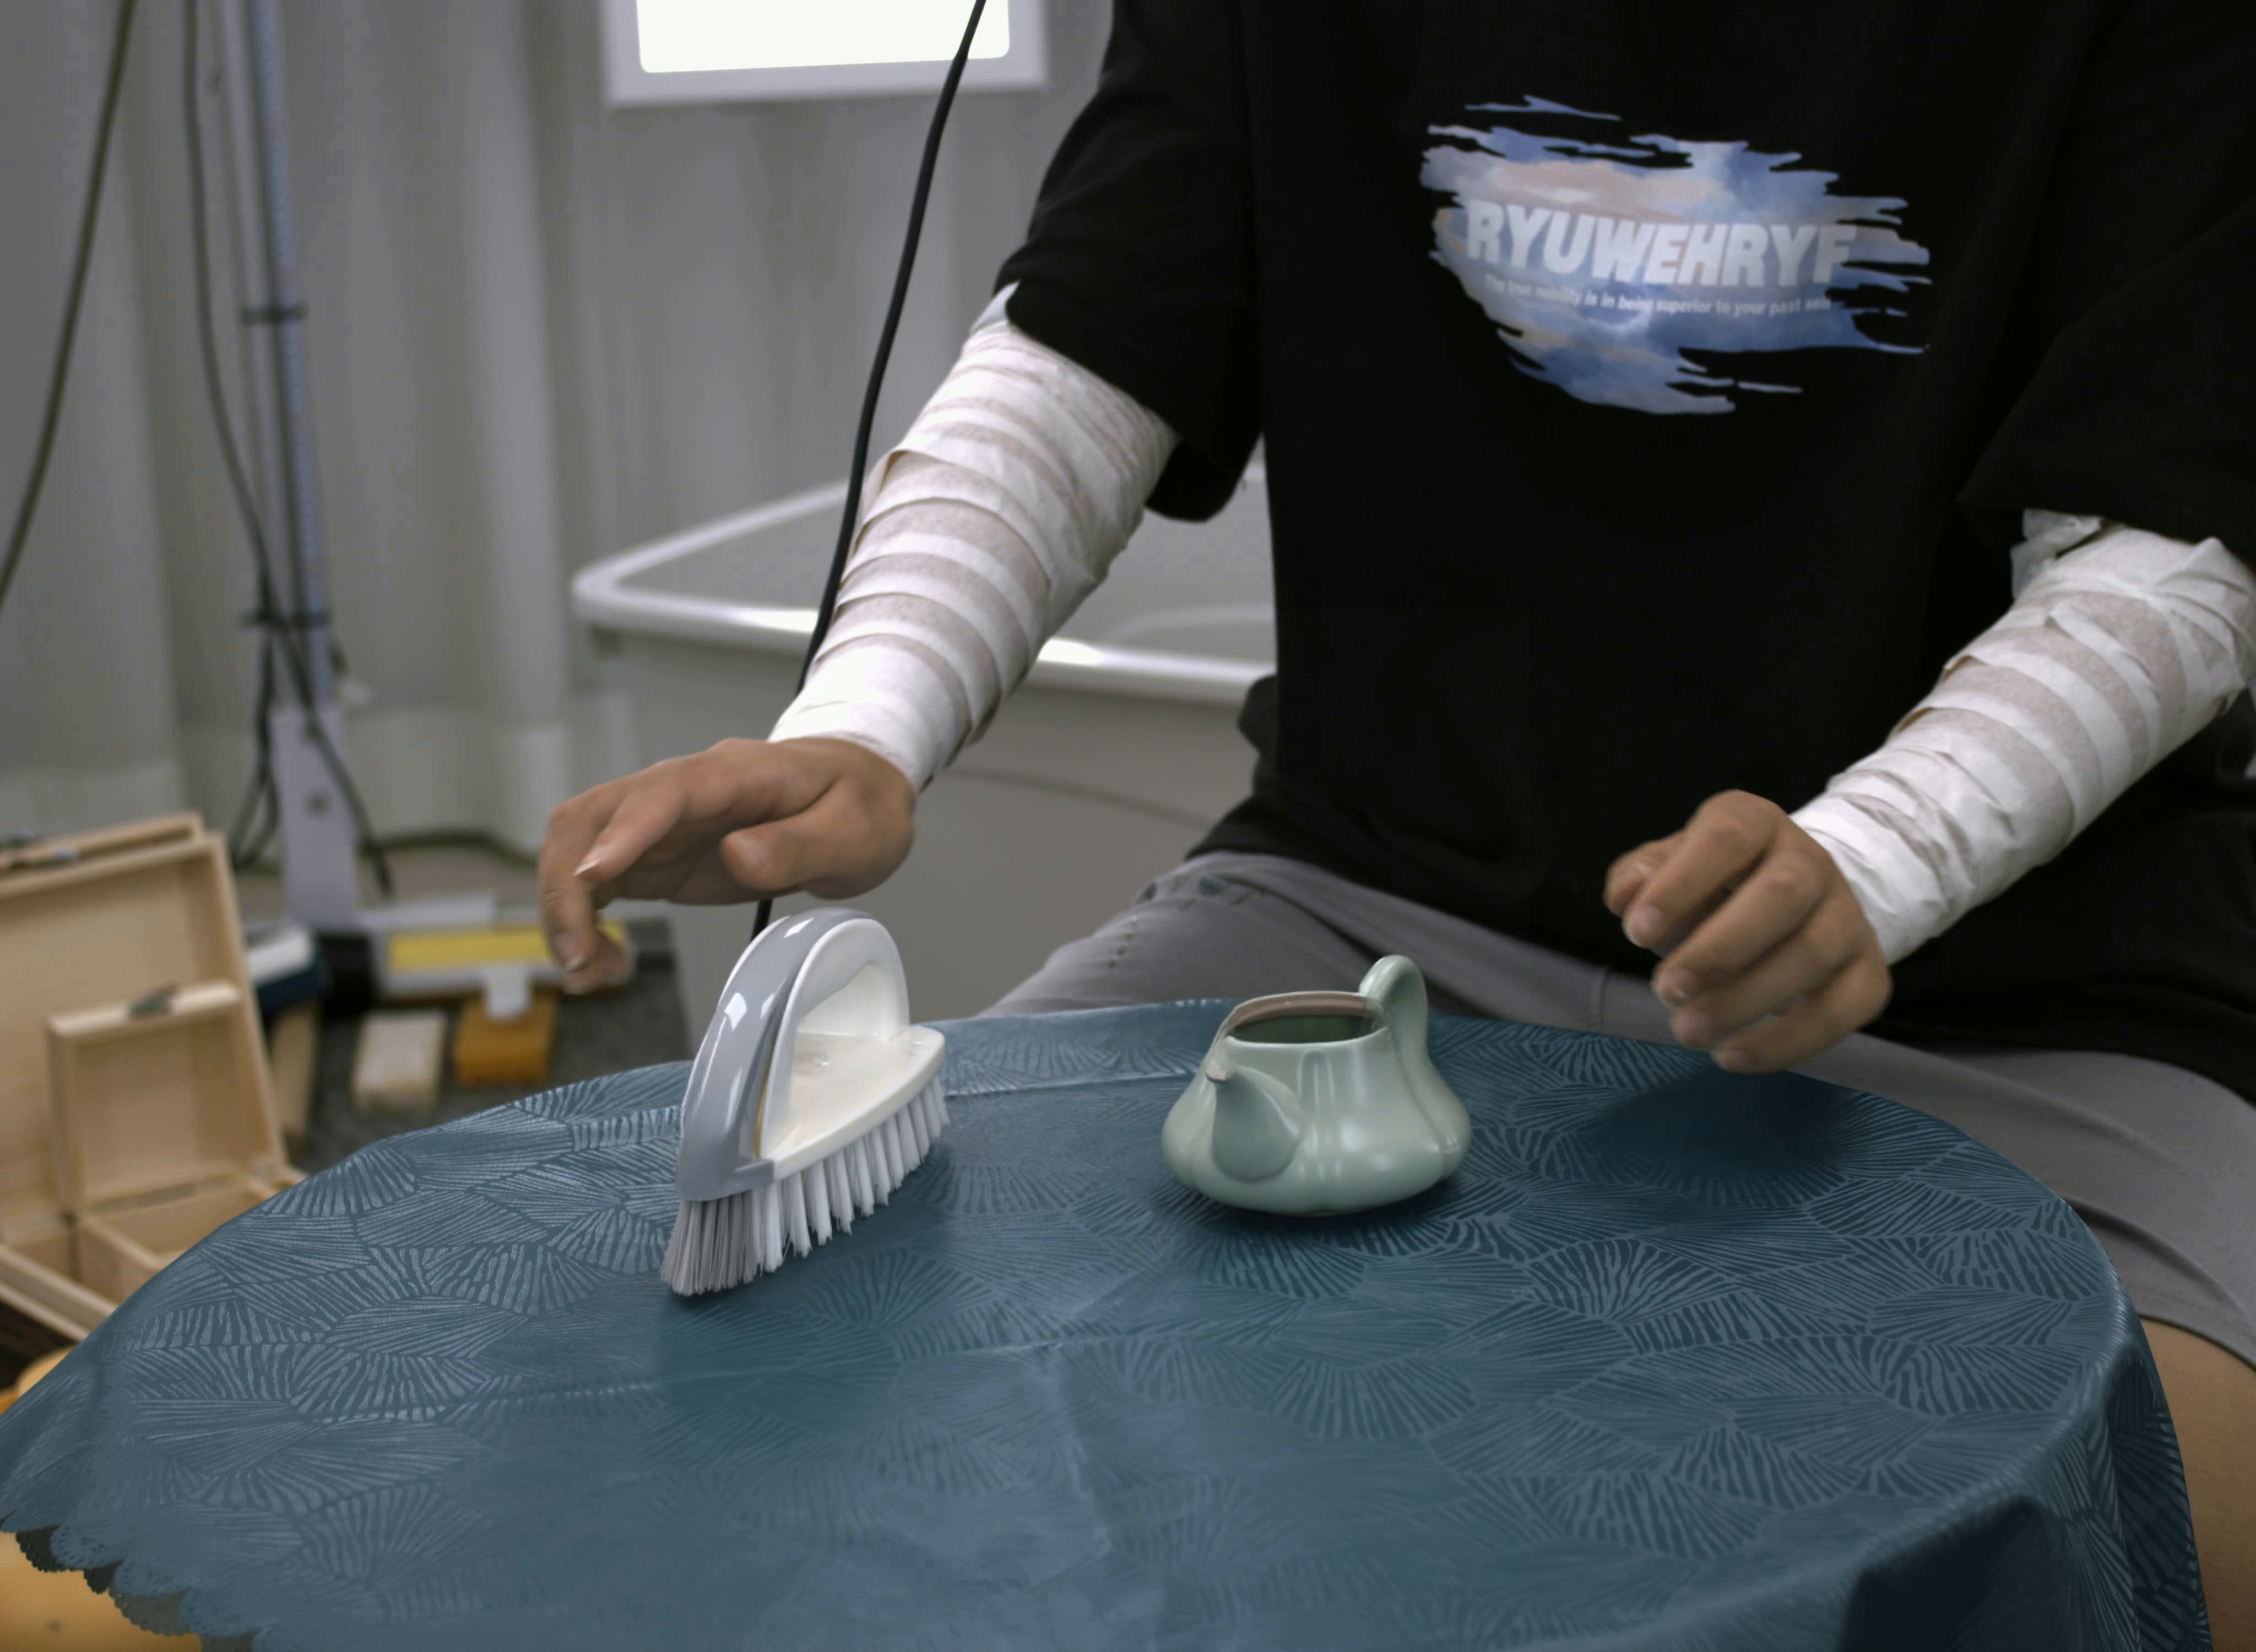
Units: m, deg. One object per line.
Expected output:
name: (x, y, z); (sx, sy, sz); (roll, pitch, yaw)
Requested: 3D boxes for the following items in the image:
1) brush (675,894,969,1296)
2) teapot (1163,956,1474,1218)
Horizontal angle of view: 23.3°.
brush: (-0.104, 0.078, 1.696); (0.061, 0.094, 0.176); (-2, 15, 19)
teapot: (0.060, 0.084, 1.700); (0.096, 0.061, 0.137); (2, 15, 27)
